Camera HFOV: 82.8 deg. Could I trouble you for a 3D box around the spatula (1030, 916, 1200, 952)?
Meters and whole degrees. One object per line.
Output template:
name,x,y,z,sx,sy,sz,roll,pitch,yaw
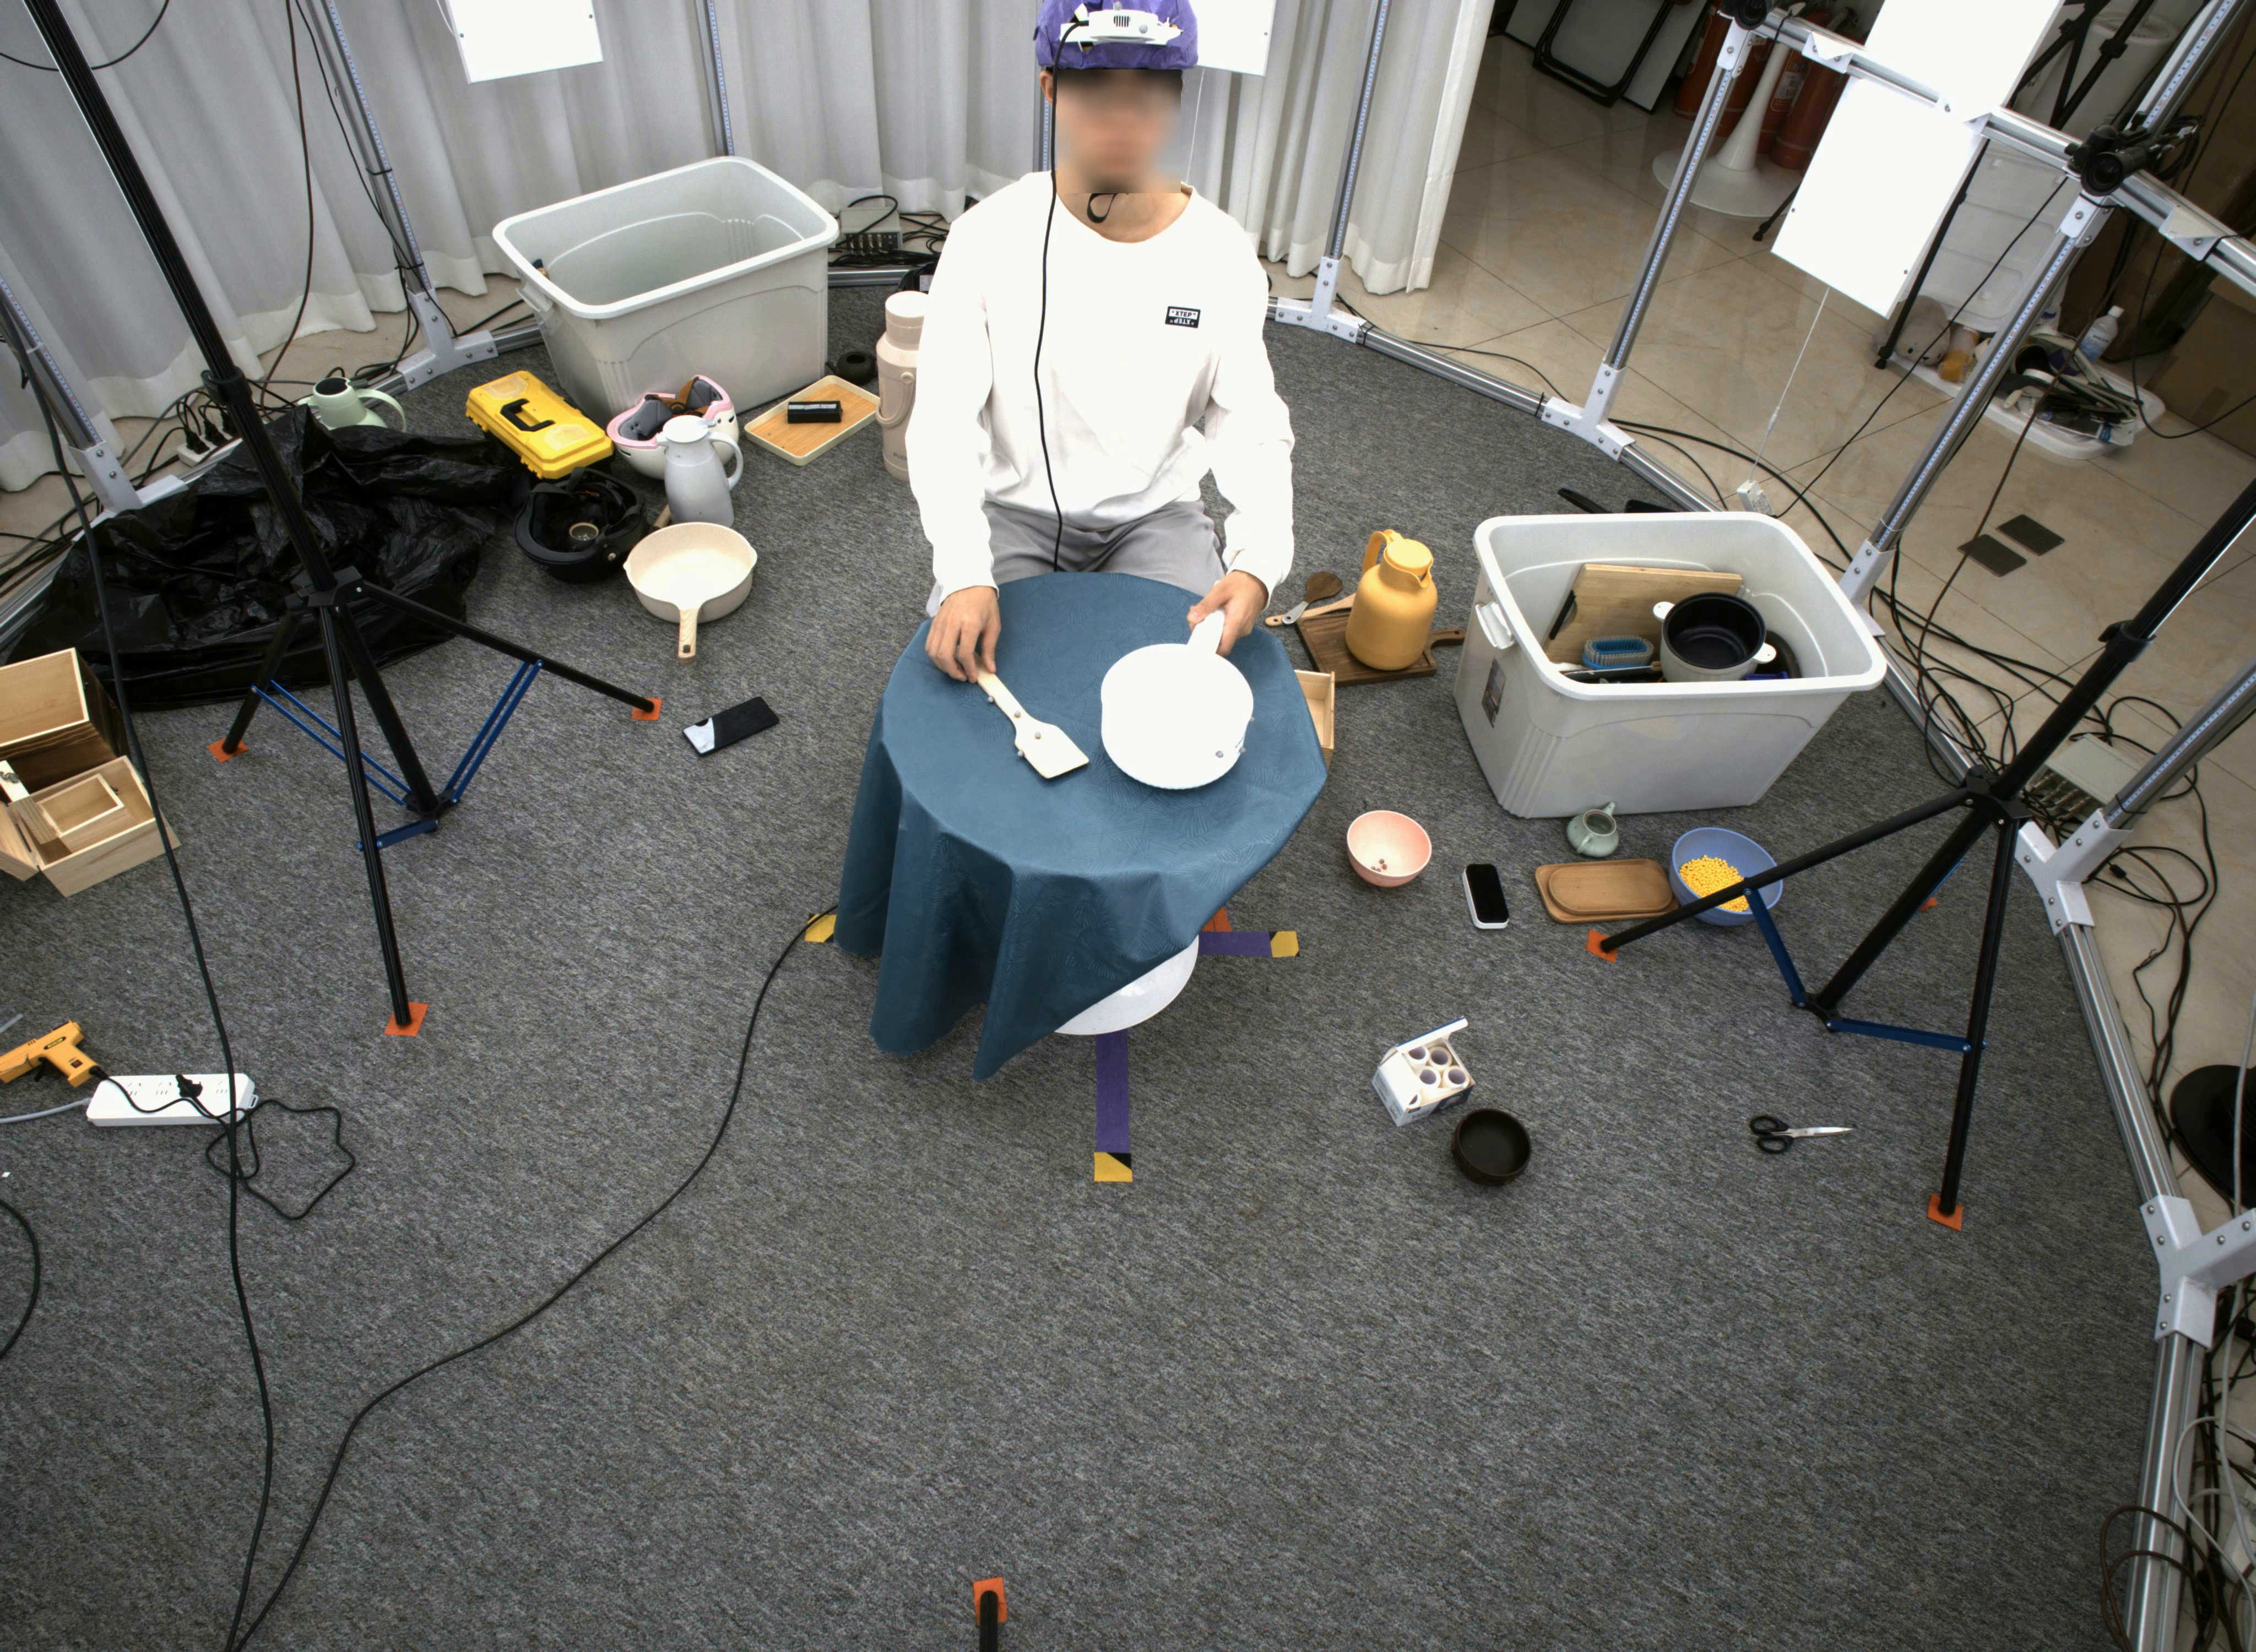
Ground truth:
spatula,-0.021,0.189,2.205,0.293,0.010,0.074,3,47,-2

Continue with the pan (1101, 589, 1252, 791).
pan,0.087,-0.191,1.784,0.202,0.099,0.362,13,46,12
